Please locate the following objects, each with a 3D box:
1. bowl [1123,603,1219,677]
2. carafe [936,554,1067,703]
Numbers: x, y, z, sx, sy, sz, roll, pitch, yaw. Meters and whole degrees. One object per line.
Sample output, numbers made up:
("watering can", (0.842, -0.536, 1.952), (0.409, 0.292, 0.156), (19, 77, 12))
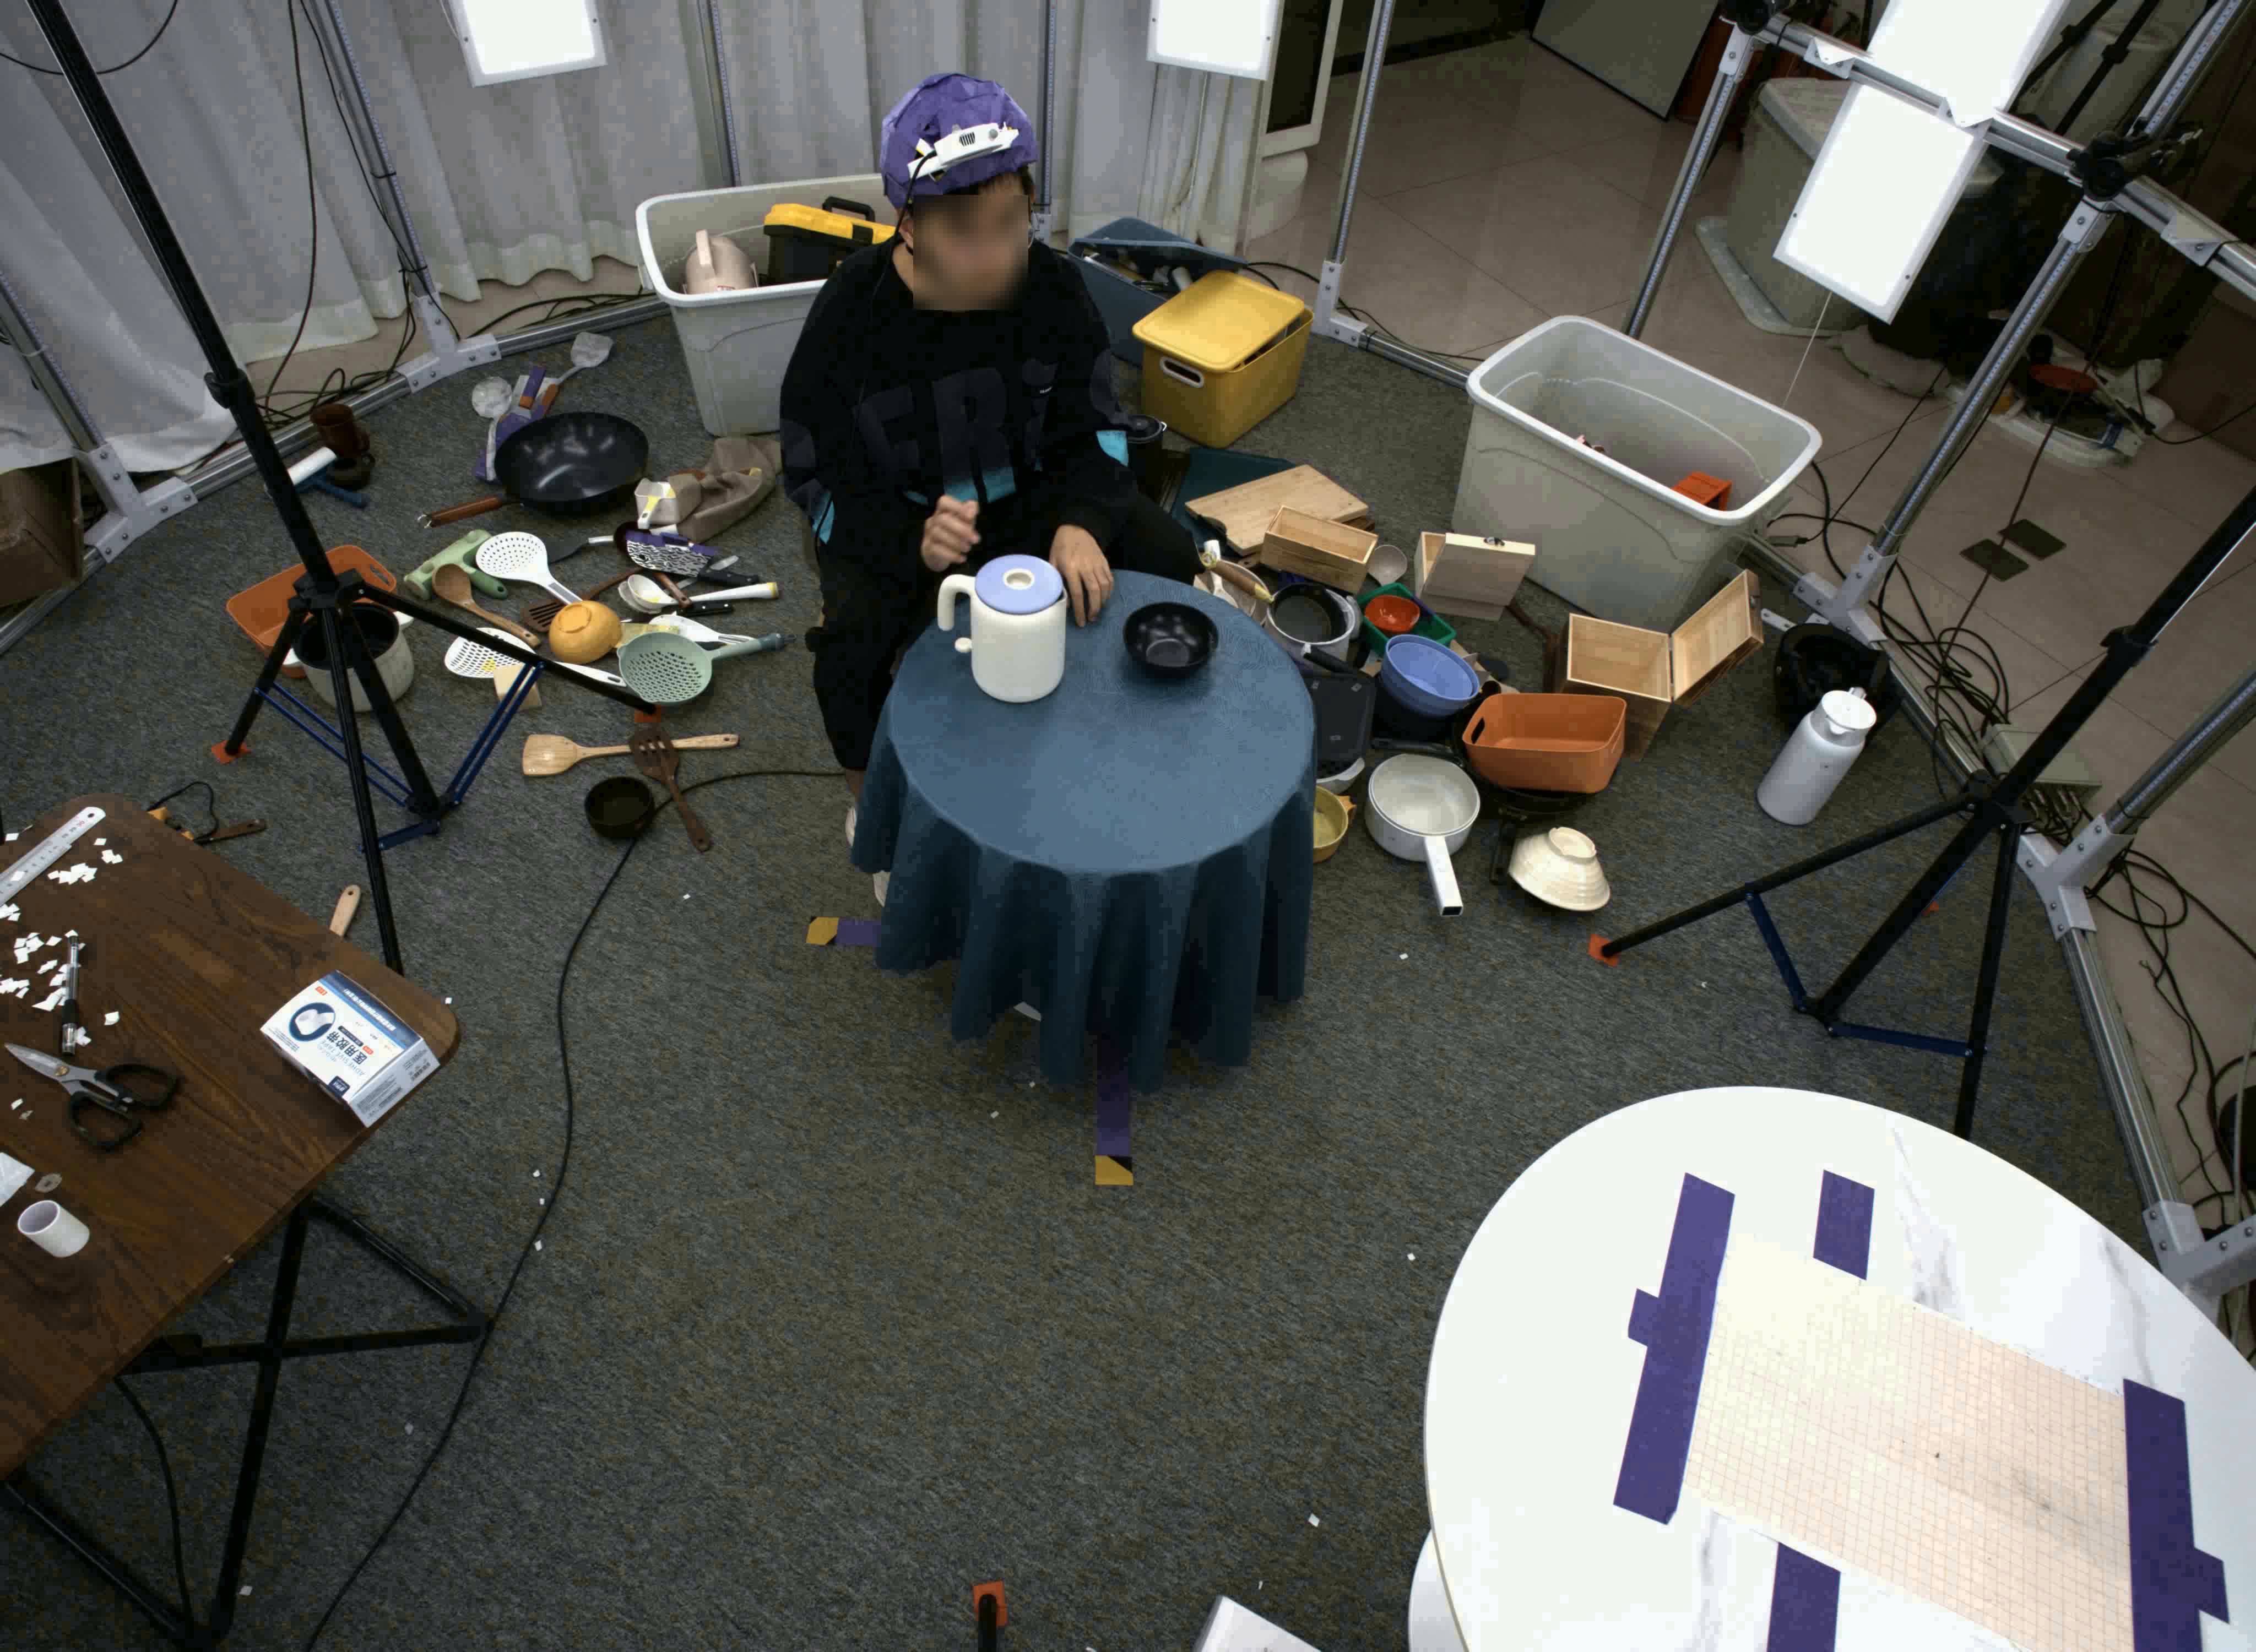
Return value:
("bowl", (0.061, -0.262, 1.869), (0.140, 0.048, 0.143), (1, 48, -1))
("carafe", (-0.175, -0.279, 1.789), (0.191, 0.178, 0.135), (13, 49, 10))
